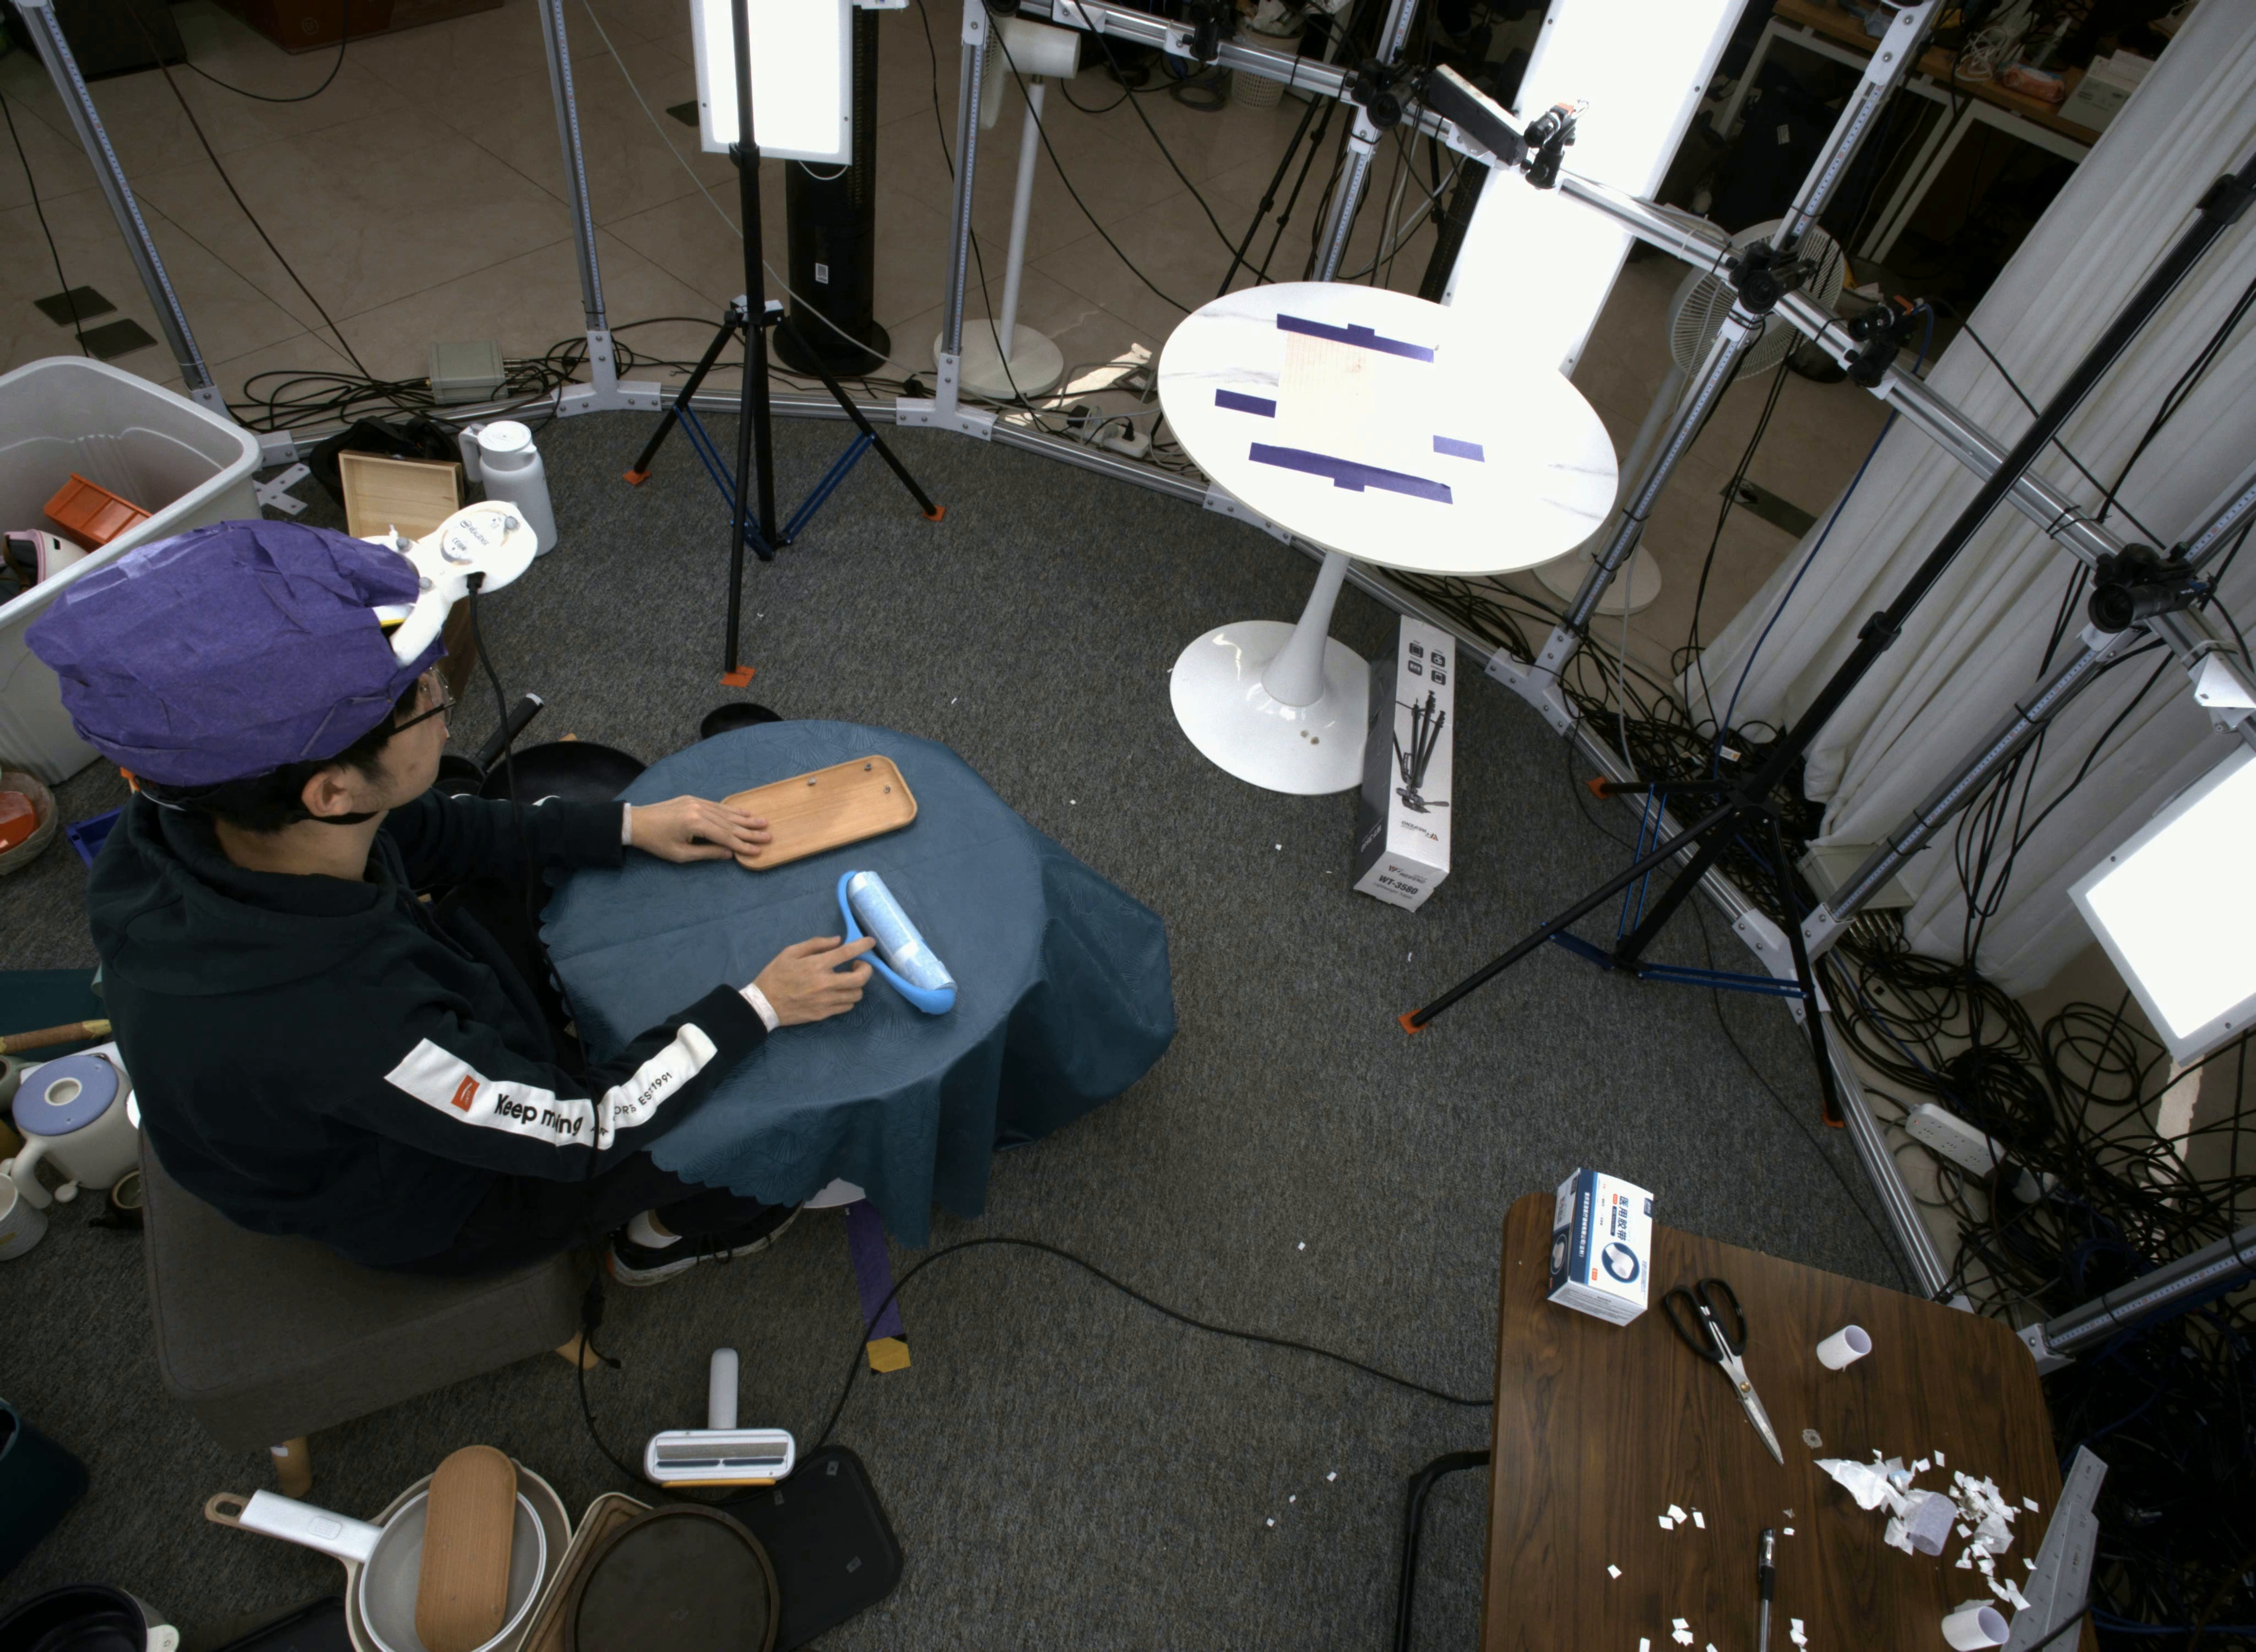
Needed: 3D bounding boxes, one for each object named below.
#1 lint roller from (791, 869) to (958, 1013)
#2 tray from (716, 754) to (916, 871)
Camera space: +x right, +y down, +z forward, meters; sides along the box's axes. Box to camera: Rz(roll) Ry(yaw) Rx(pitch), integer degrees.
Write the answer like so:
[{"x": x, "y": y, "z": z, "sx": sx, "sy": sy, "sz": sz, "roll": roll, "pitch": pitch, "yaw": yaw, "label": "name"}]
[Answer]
[{"x": -0.332, "y": 0.163, "z": 1.597, "sx": 0.181, "sy": 0.069, "sz": 0.224, "roll": -29, "pitch": 67, "yaw": -32, "label": "lint roller"}, {"x": -0.416, "y": -0.021, "z": 1.736, "sx": 0.252, "sy": 0.023, "sz": 0.127, "roll": -18, "pitch": 58, "yaw": -25, "label": "tray"}]
